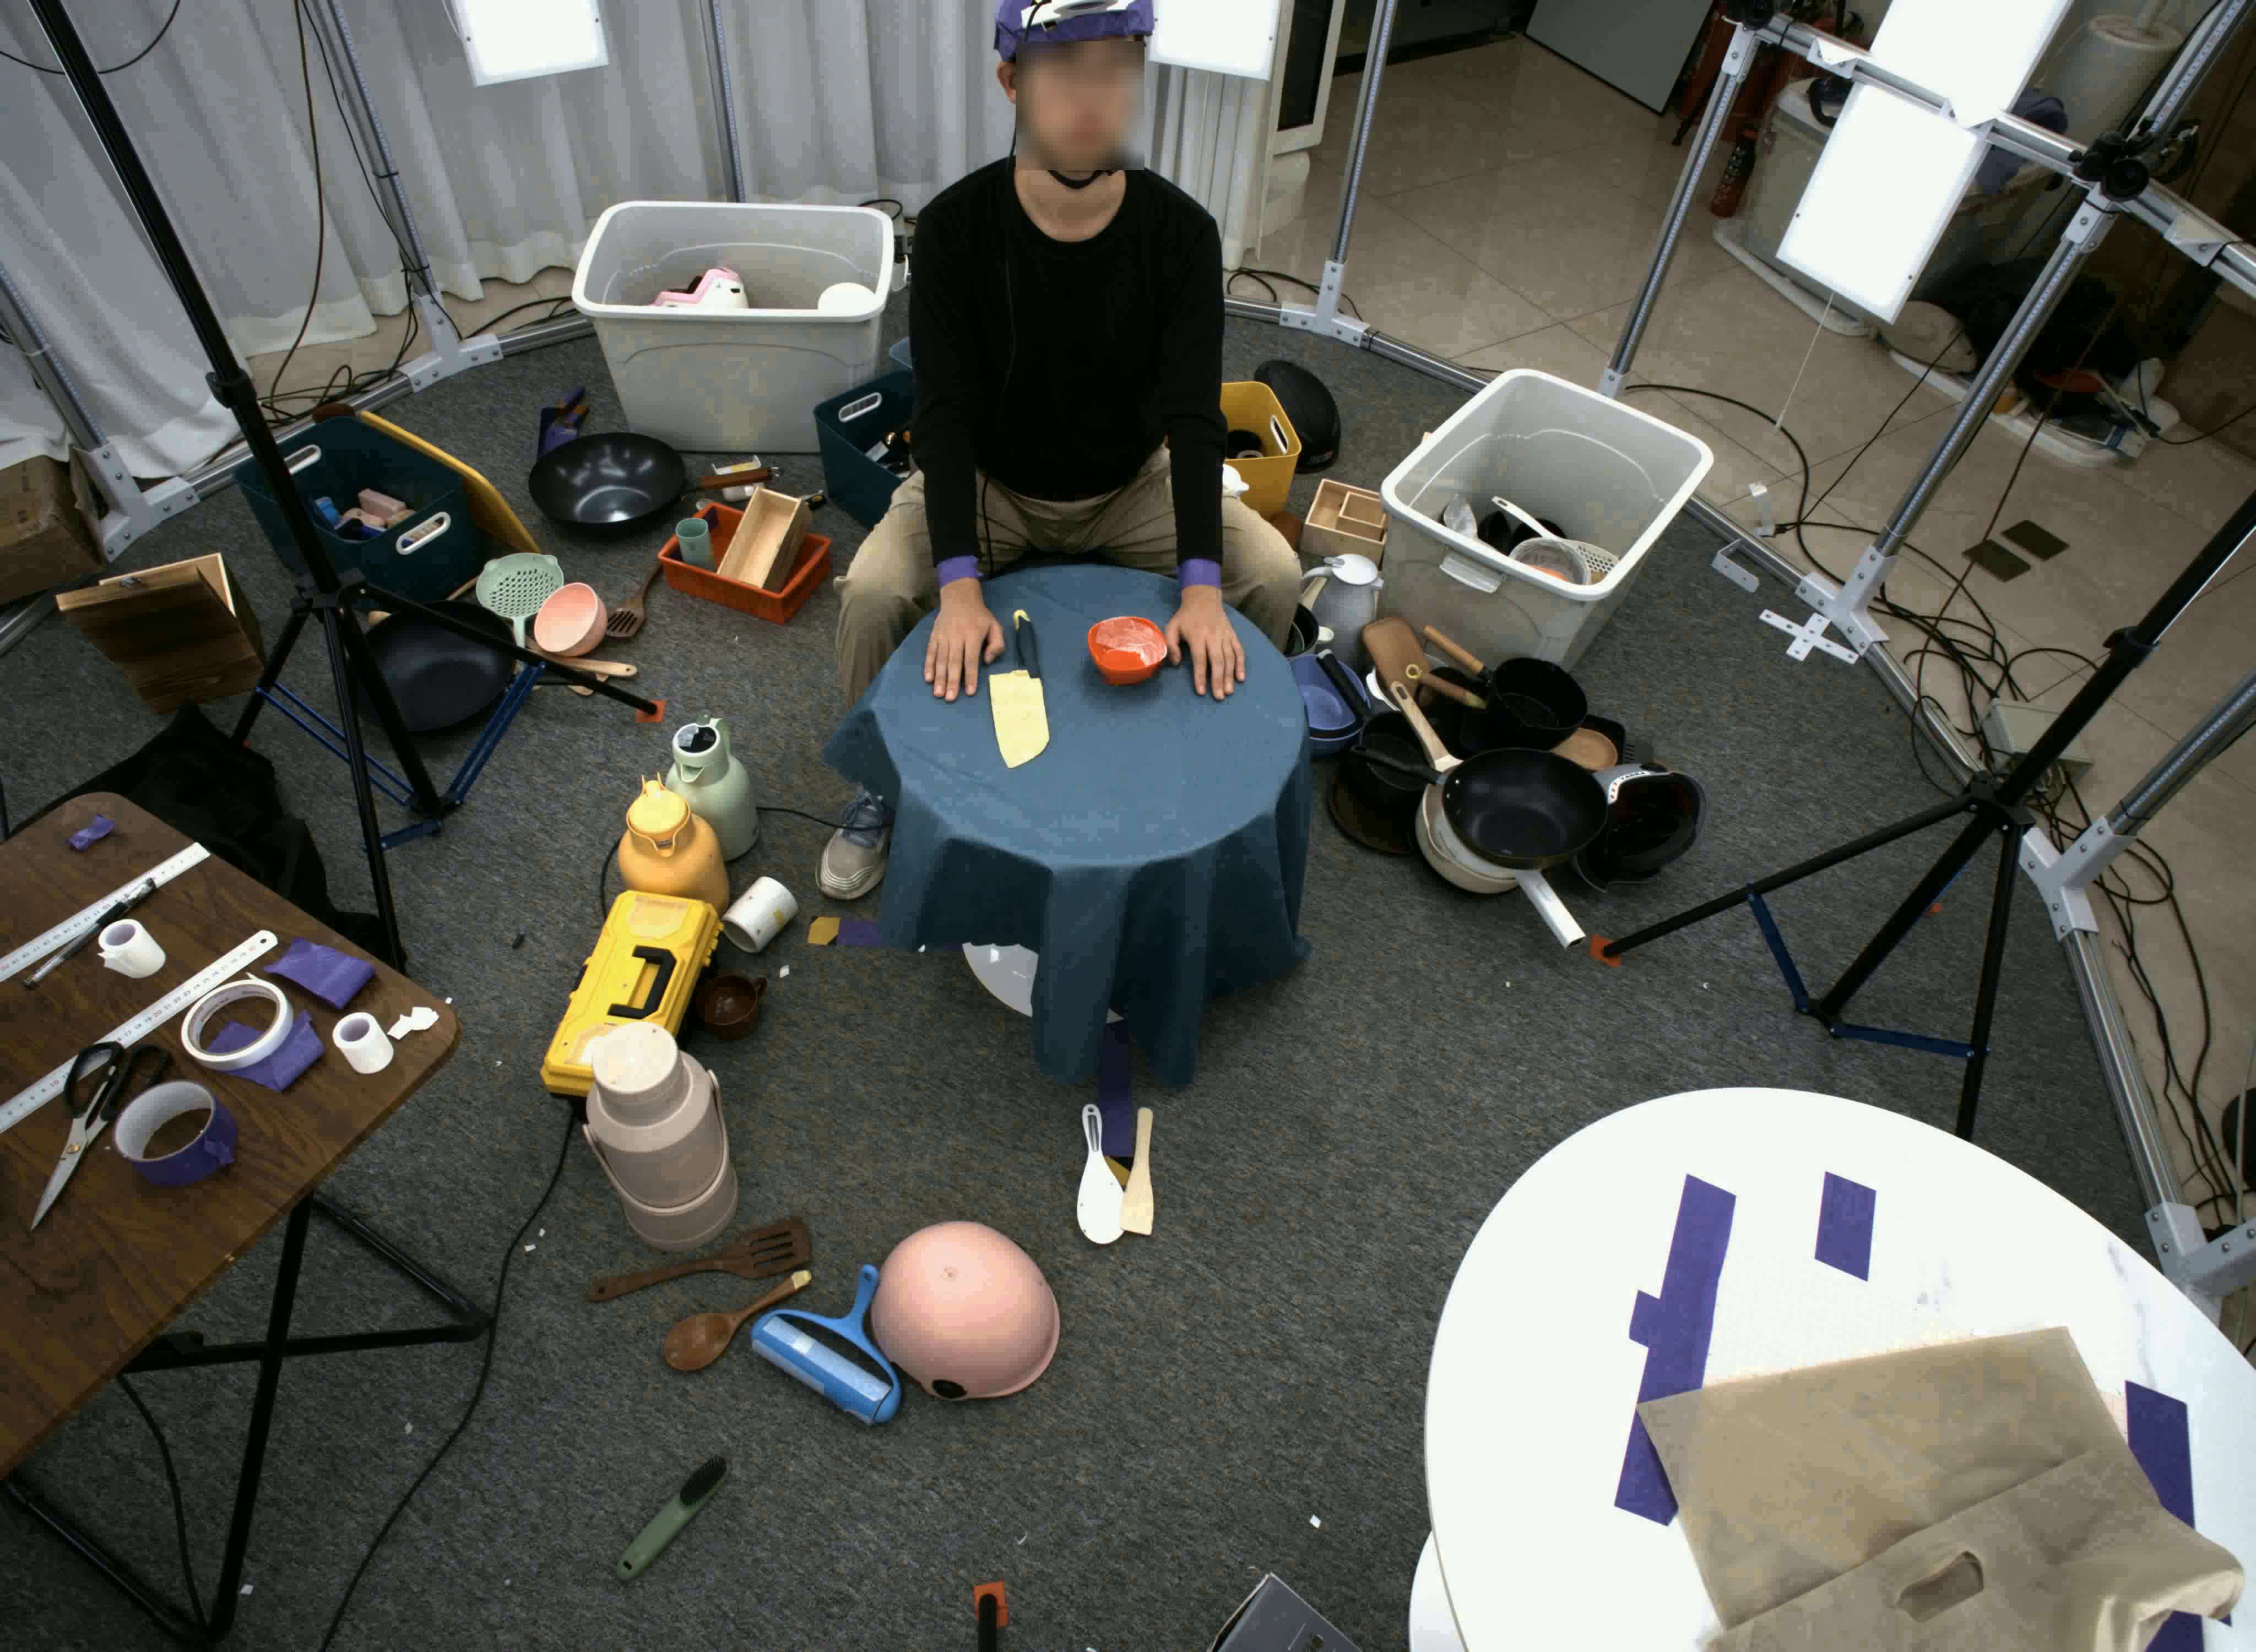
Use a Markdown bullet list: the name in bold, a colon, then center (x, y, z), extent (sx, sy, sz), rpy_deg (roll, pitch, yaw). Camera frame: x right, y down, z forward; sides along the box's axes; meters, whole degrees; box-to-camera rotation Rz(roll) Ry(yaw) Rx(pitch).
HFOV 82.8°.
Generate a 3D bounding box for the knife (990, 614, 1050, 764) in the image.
- **knife**: center (-0.155, -0.197, 1.822), extent (0.081, 0.026, 0.297), rpy_deg (-1, 50, -7)

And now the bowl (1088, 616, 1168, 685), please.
- **bowl**: center (-0.001, -0.247, 1.849), extent (0.119, 0.050, 0.122), rpy_deg (1, 51, -1)
